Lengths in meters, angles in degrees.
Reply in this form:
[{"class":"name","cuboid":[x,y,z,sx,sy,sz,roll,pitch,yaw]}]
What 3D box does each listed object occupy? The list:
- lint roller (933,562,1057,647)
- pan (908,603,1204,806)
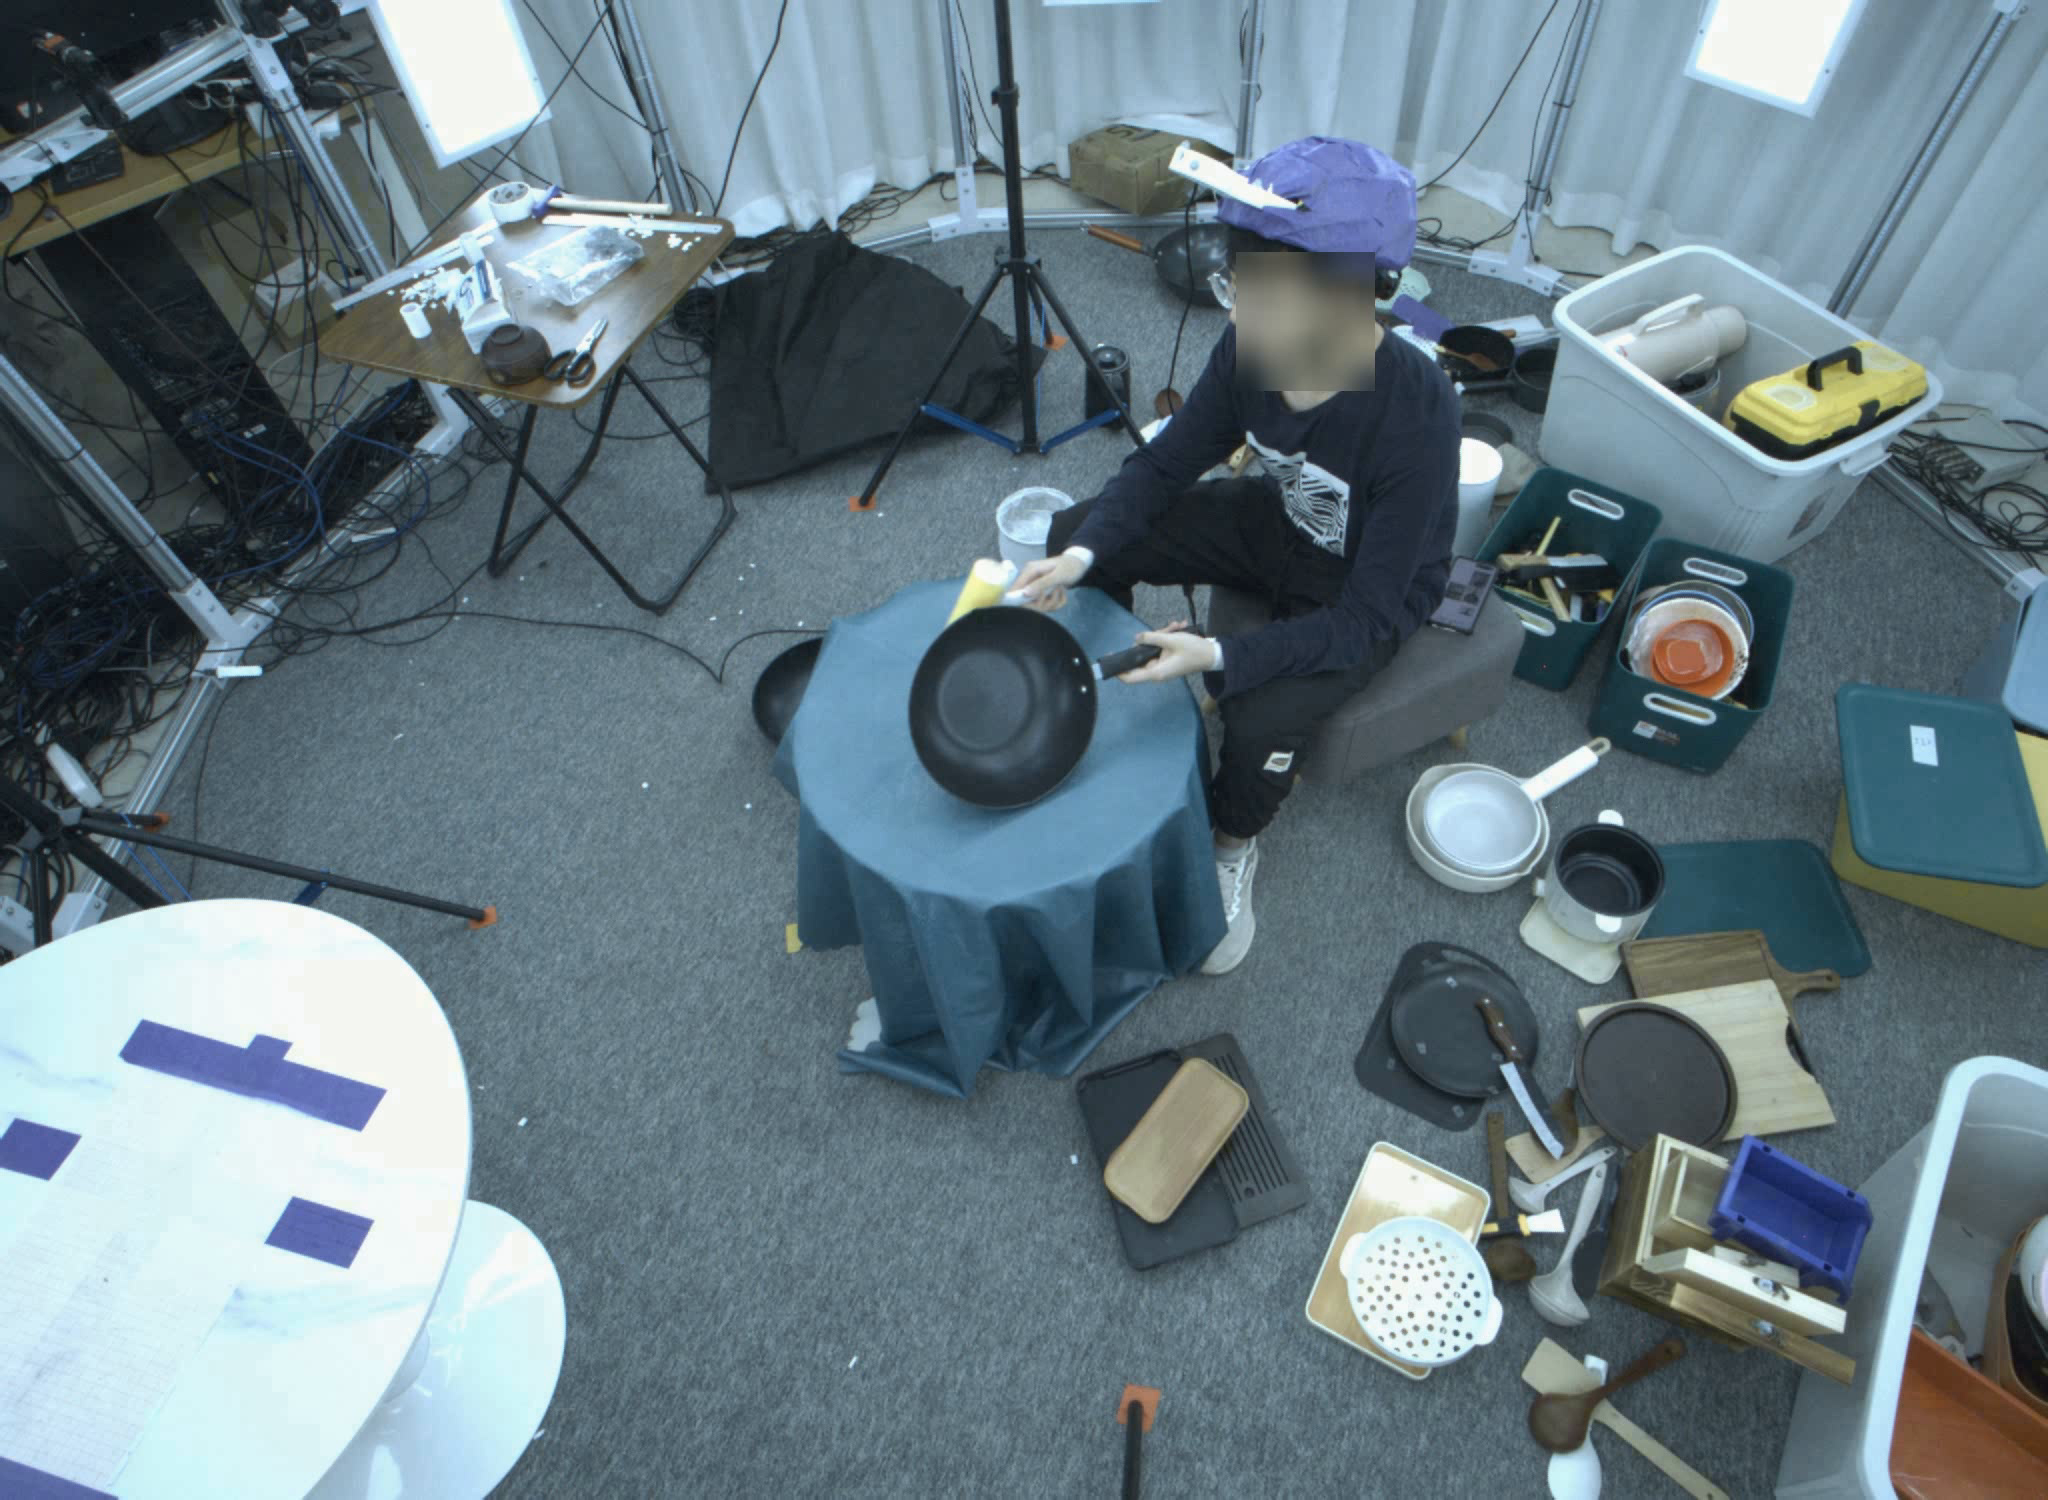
[{"class":"lint roller","cuboid":[-0.030,-0.218,1.755,0.051,0.173,0.194,47,48,13]},{"class":"pan","cuboid":[0.041,-0.100,1.747,0.468,0.291,0.085,-22,20,-19]}]
